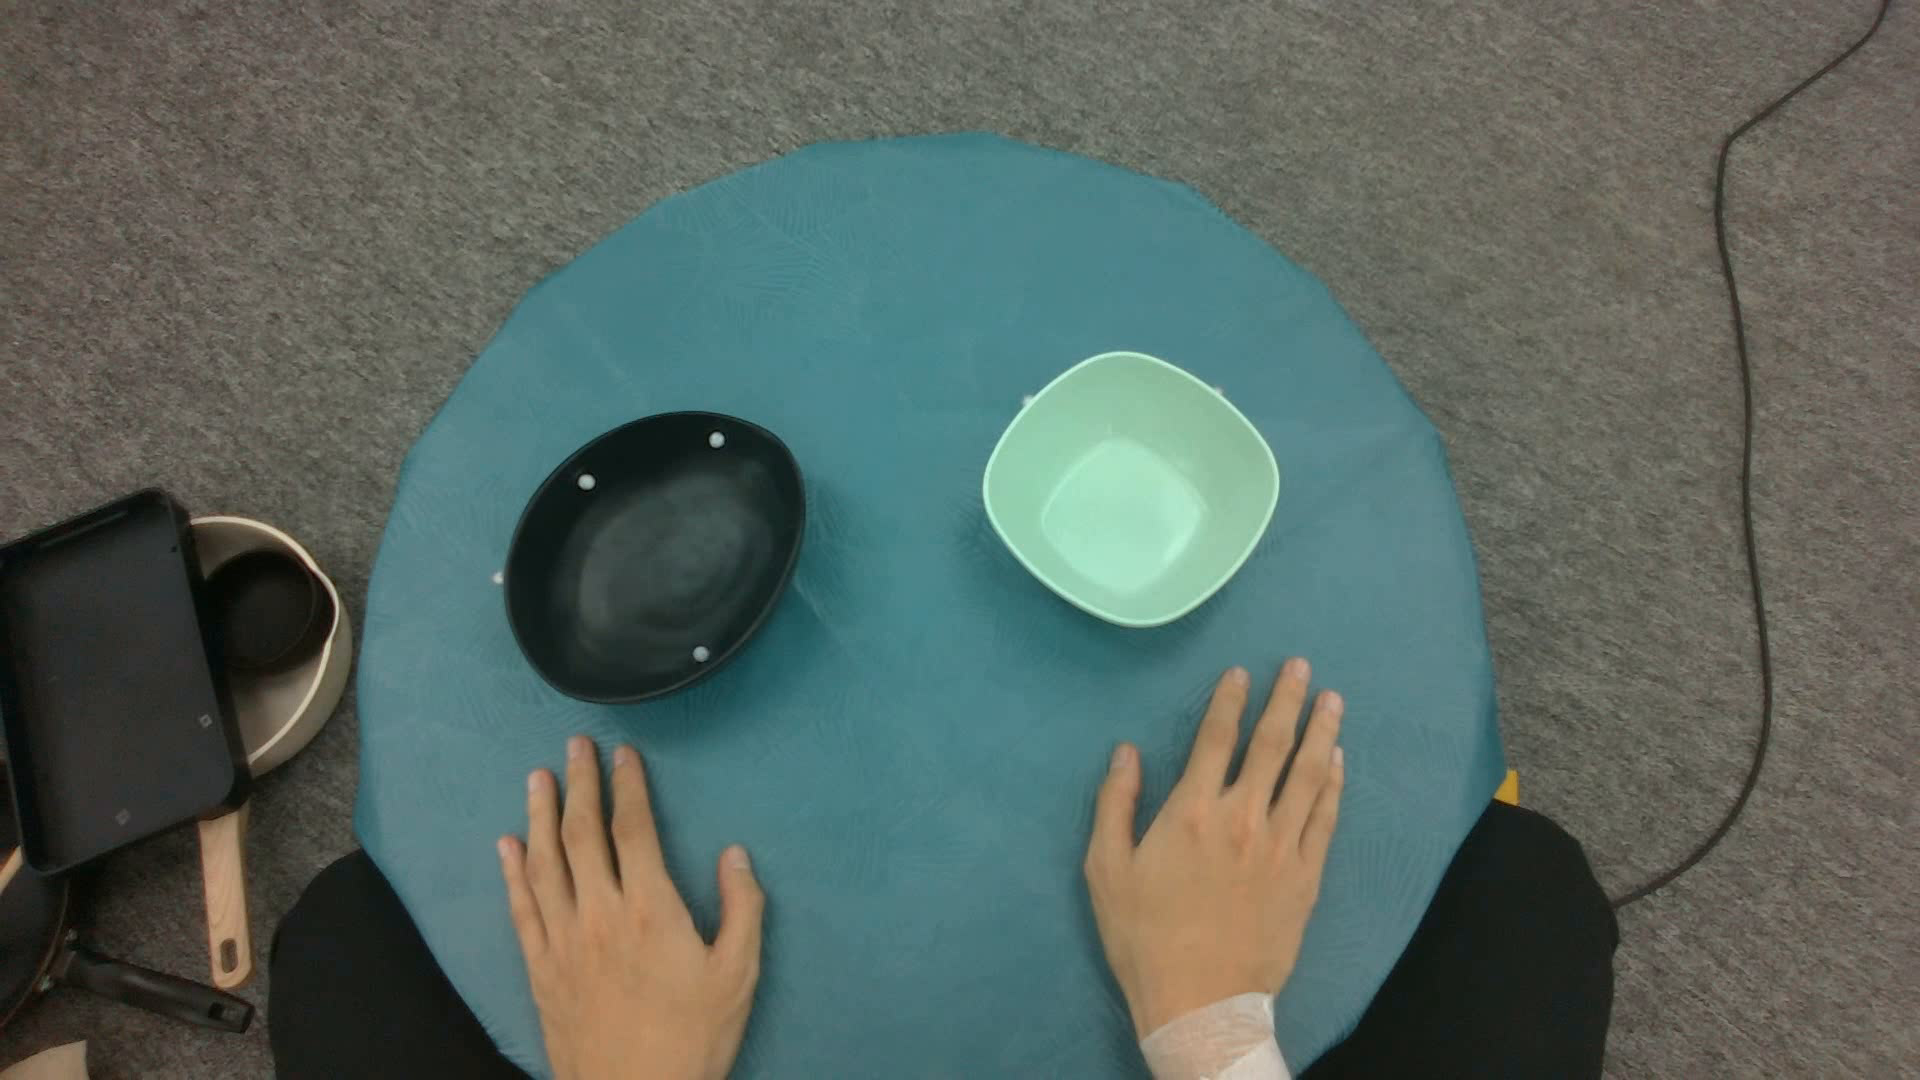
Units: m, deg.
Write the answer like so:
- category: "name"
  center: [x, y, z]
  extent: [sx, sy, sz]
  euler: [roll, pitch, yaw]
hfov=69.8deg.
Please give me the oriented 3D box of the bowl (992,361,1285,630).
- category: "bowl"
  center: [0.094, -0.017, 0.737]
  extent: [0.151, 0.058, 0.152]
  euler: [-1, 68, 3]

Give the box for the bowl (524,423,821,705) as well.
- category: "bowl"
  center: [-0.147, 0.015, 0.732]
  extent: [0.137, 0.066, 0.171]
  euler: [33, 73, 13]
